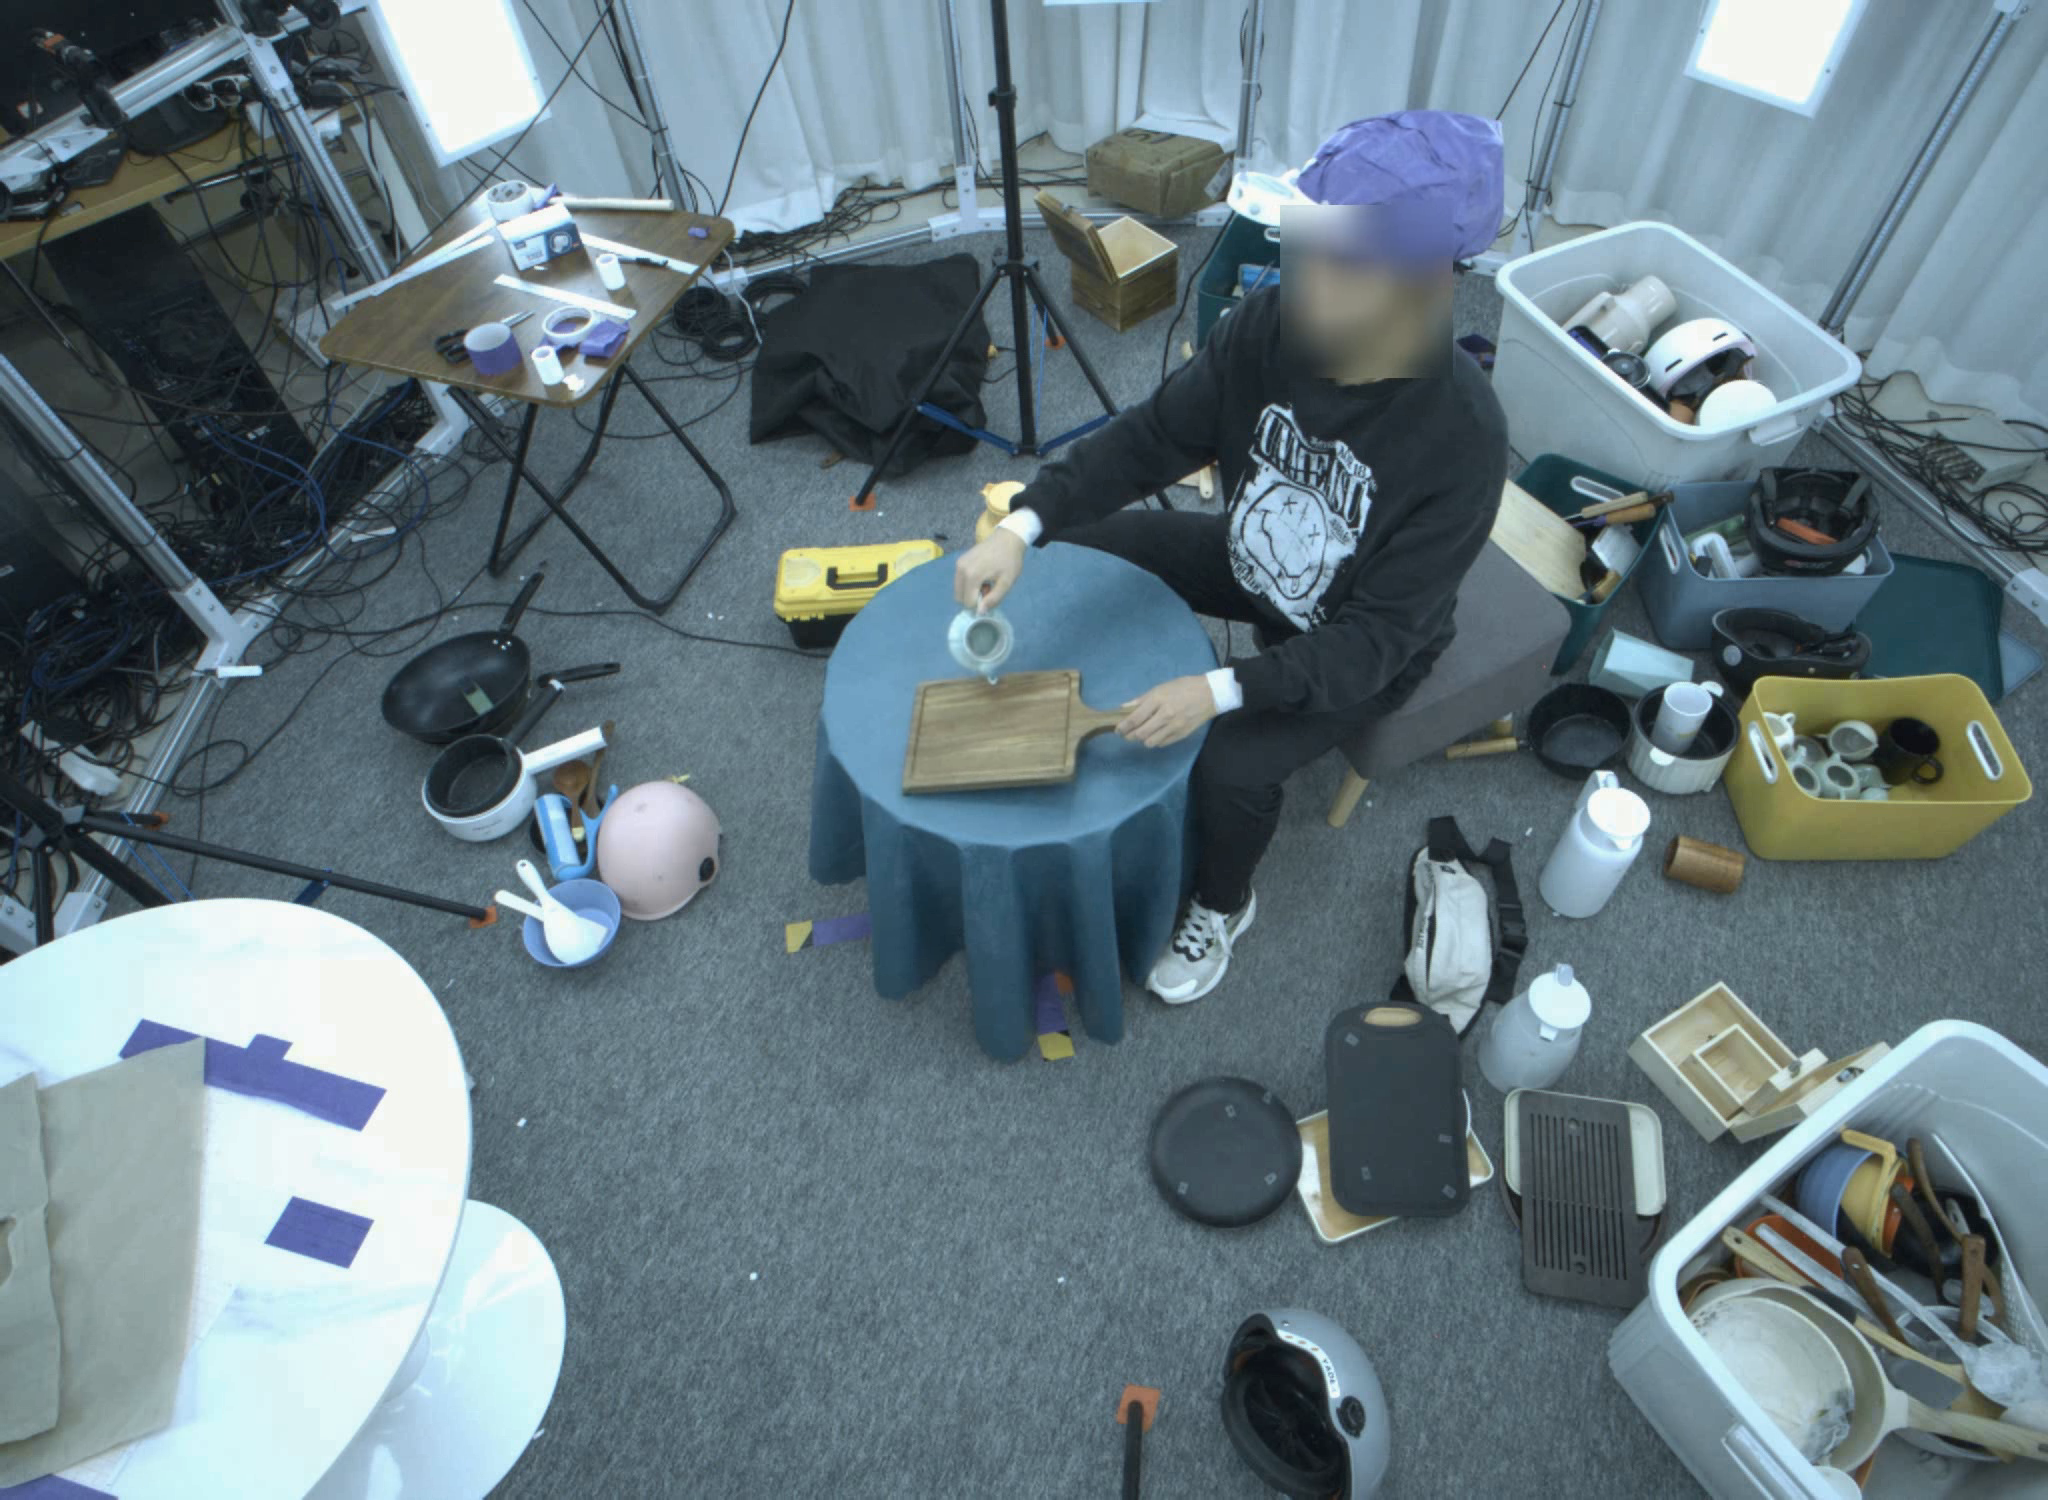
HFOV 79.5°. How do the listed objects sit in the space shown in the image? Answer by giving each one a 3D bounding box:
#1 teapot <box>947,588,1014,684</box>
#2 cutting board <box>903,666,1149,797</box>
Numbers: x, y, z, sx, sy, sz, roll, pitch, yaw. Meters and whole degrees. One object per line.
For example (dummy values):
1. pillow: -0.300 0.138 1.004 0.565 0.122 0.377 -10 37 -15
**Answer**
1. teapot: -0.061 -0.163 1.750 0.097 0.138 0.060 -13 12 -10
2. cutting board: 0.003 -0.033 1.760 0.350 0.023 0.199 -5 54 10
